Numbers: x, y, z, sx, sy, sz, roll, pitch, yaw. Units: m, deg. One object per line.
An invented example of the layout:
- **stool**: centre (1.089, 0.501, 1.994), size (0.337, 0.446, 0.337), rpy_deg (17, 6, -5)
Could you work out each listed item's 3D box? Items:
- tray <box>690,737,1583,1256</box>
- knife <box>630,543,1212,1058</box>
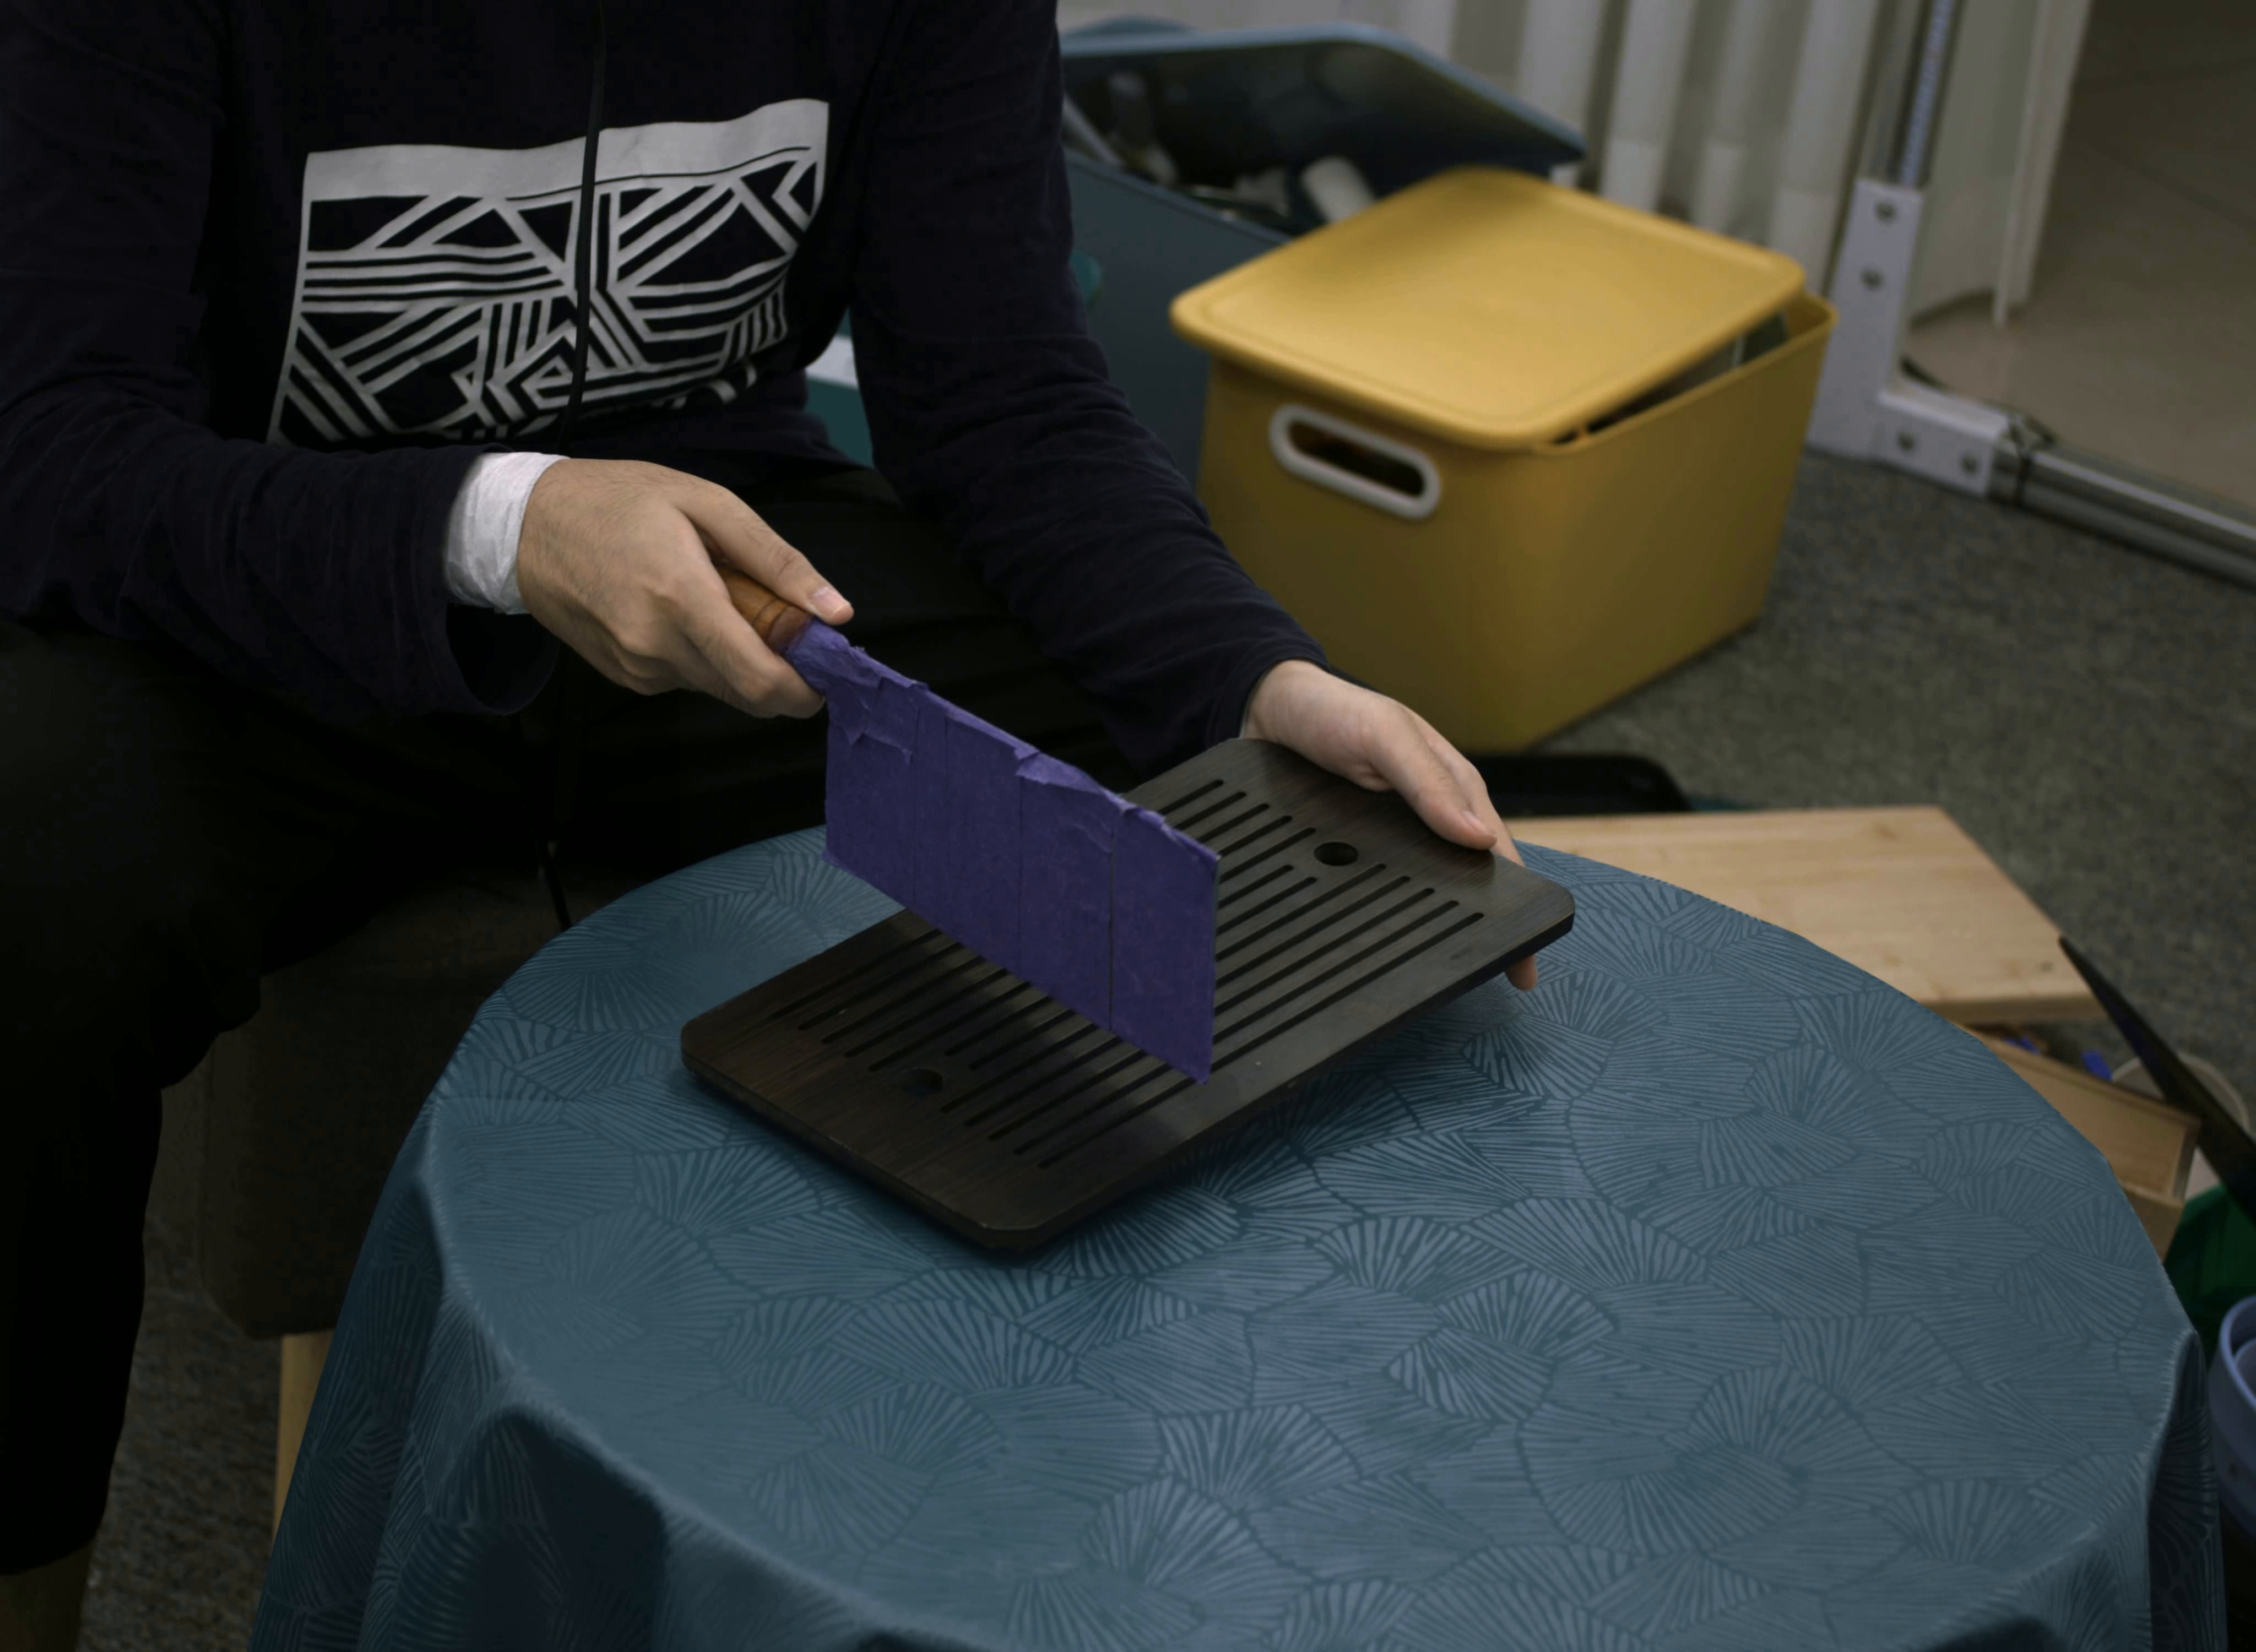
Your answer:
- **tray**: centre (0.007, 0.057, 1.886), size (0.171, 0.018, 0.305), rpy_deg (27, 40, 35)
- **knife**: centre (-0.076, -0.009, 1.873), size (0.032, 0.103, 0.318), rpy_deg (-17, 32, -35)
